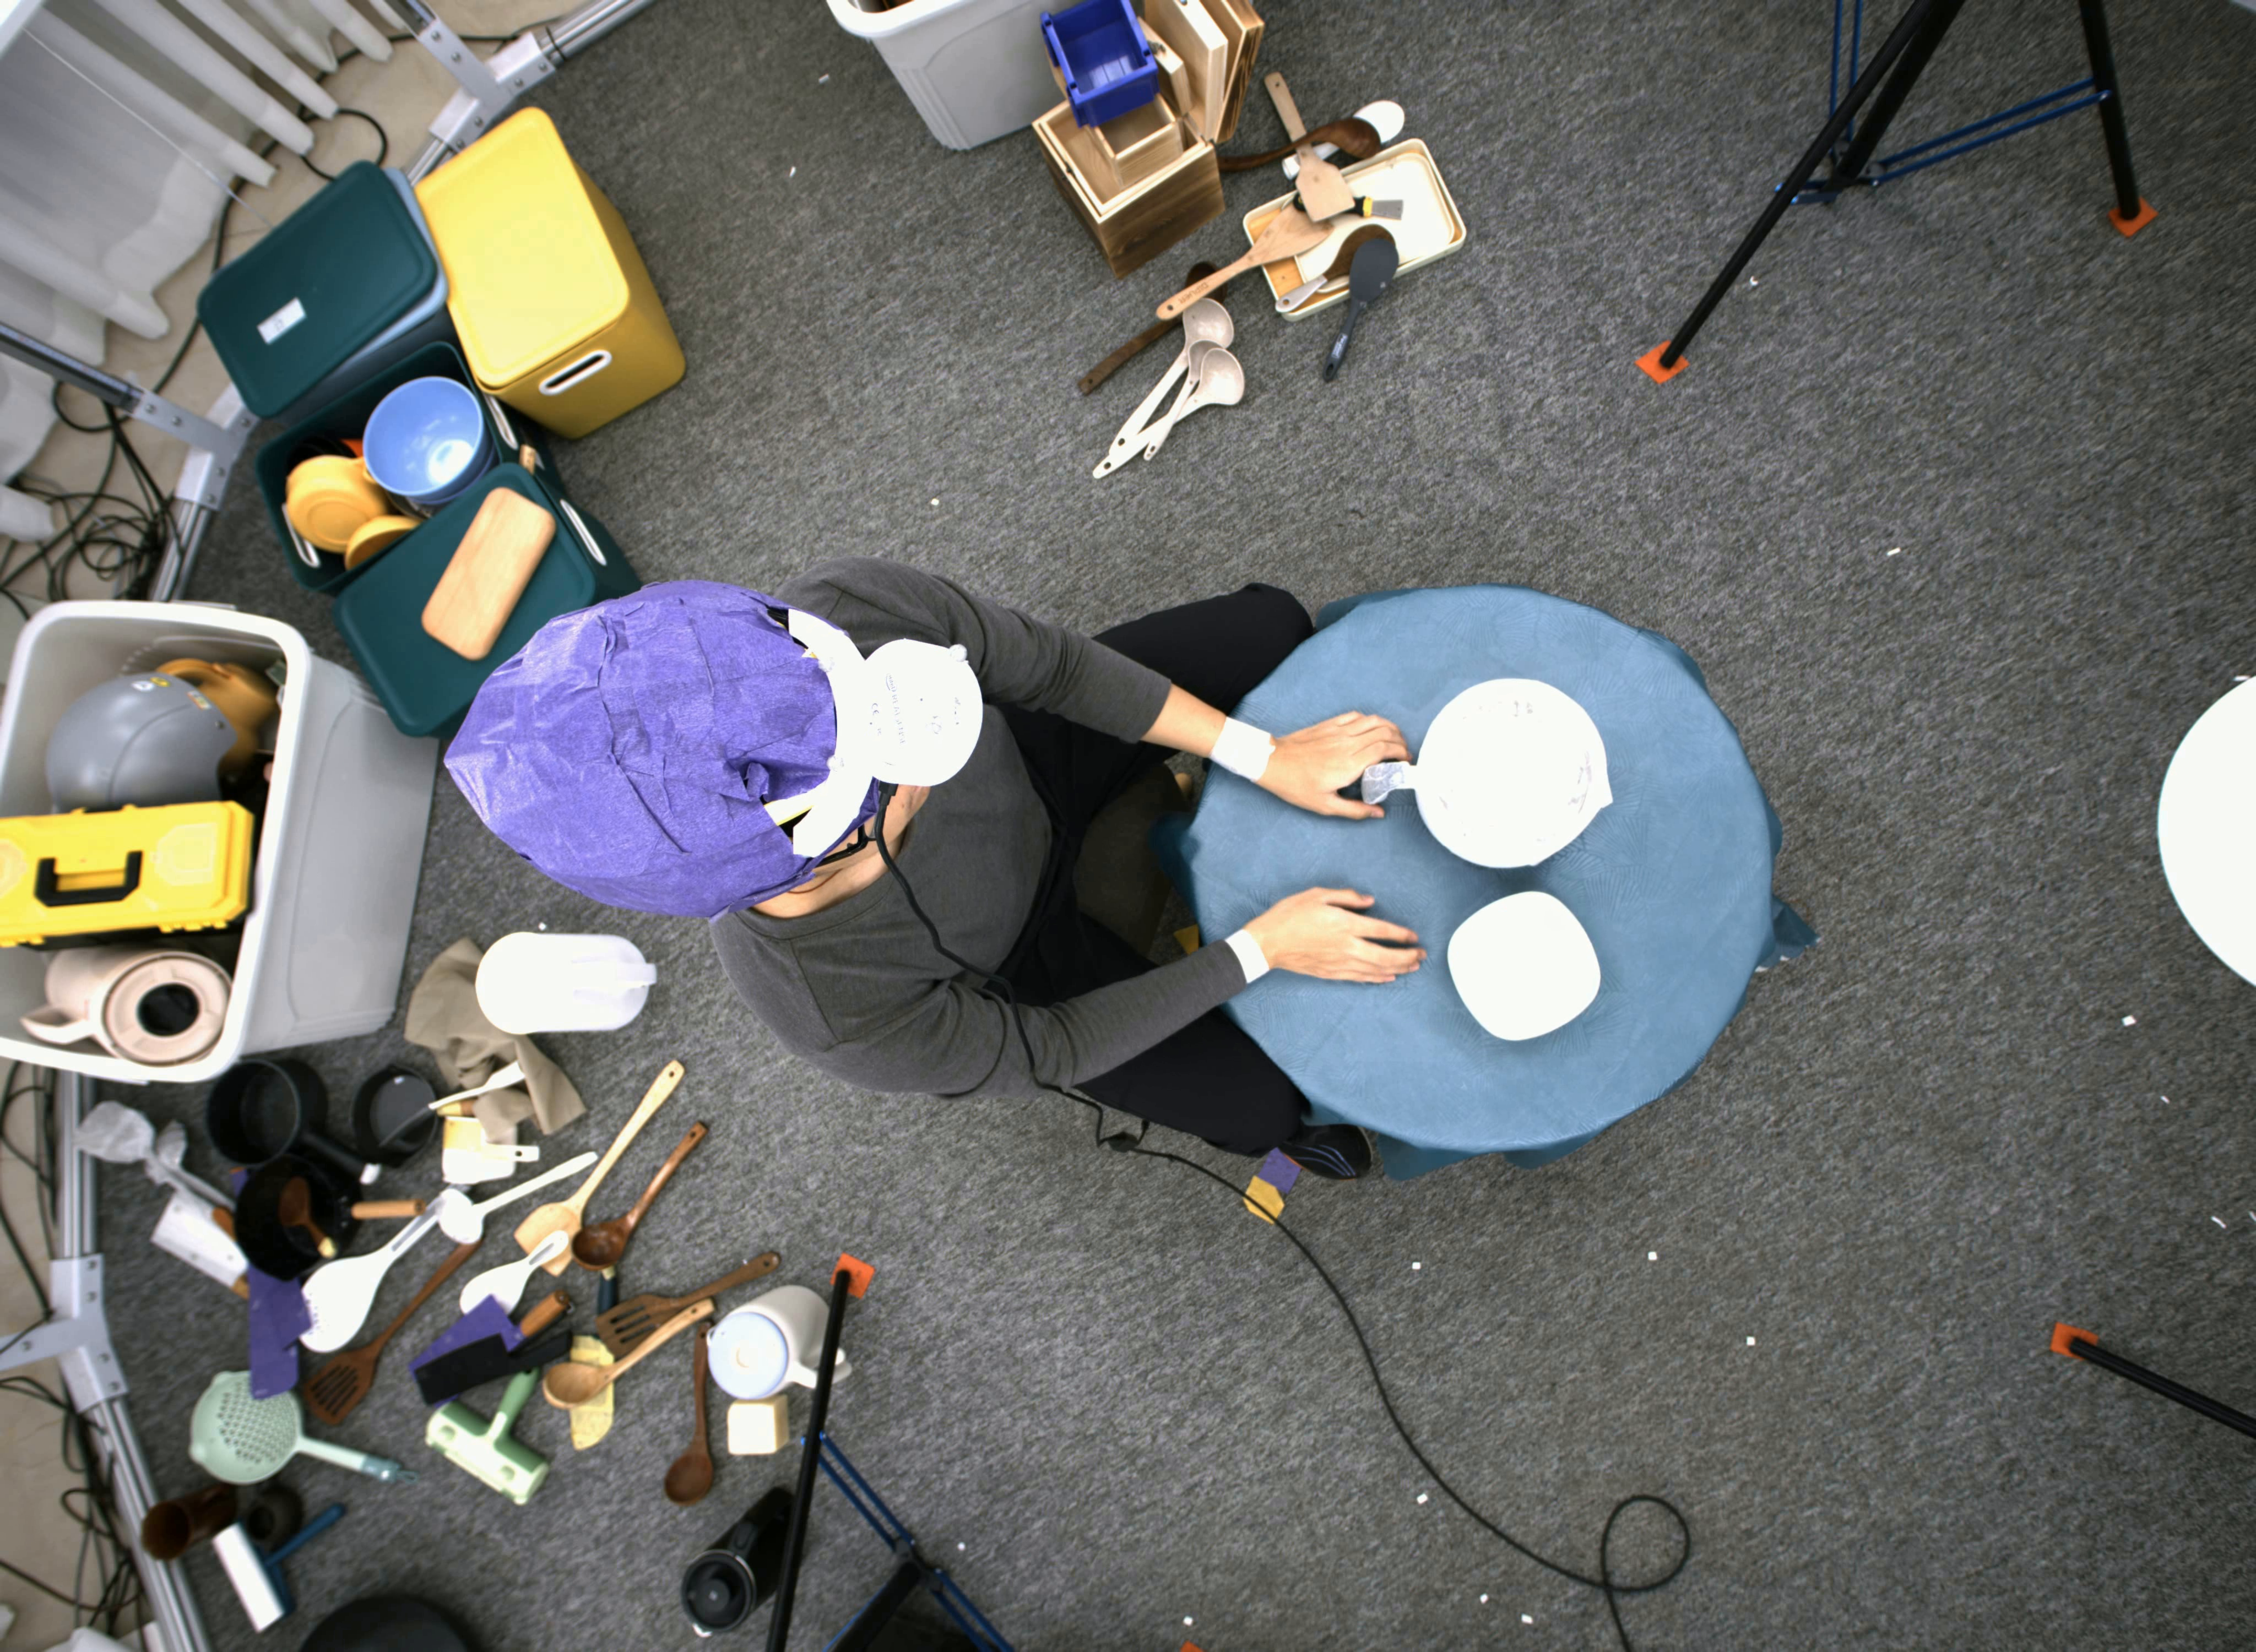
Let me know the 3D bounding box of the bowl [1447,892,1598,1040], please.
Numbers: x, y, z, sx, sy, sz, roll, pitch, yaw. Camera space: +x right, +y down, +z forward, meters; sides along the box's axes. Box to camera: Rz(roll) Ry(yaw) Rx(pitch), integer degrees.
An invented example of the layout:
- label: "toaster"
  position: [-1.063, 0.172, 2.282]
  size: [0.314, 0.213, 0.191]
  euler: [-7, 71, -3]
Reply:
- label: "bowl"
  position: [0.398, 0.140, 1.403]
  size: [0.152, 0.059, 0.151]
  euler: [-1, 86, 9]

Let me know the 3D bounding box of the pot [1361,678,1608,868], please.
- label: "pot"
  position: [0.352, -0.049, 1.382]
  size: [0.235, 0.137, 0.178]
  euler: [-3, 85, 11]
